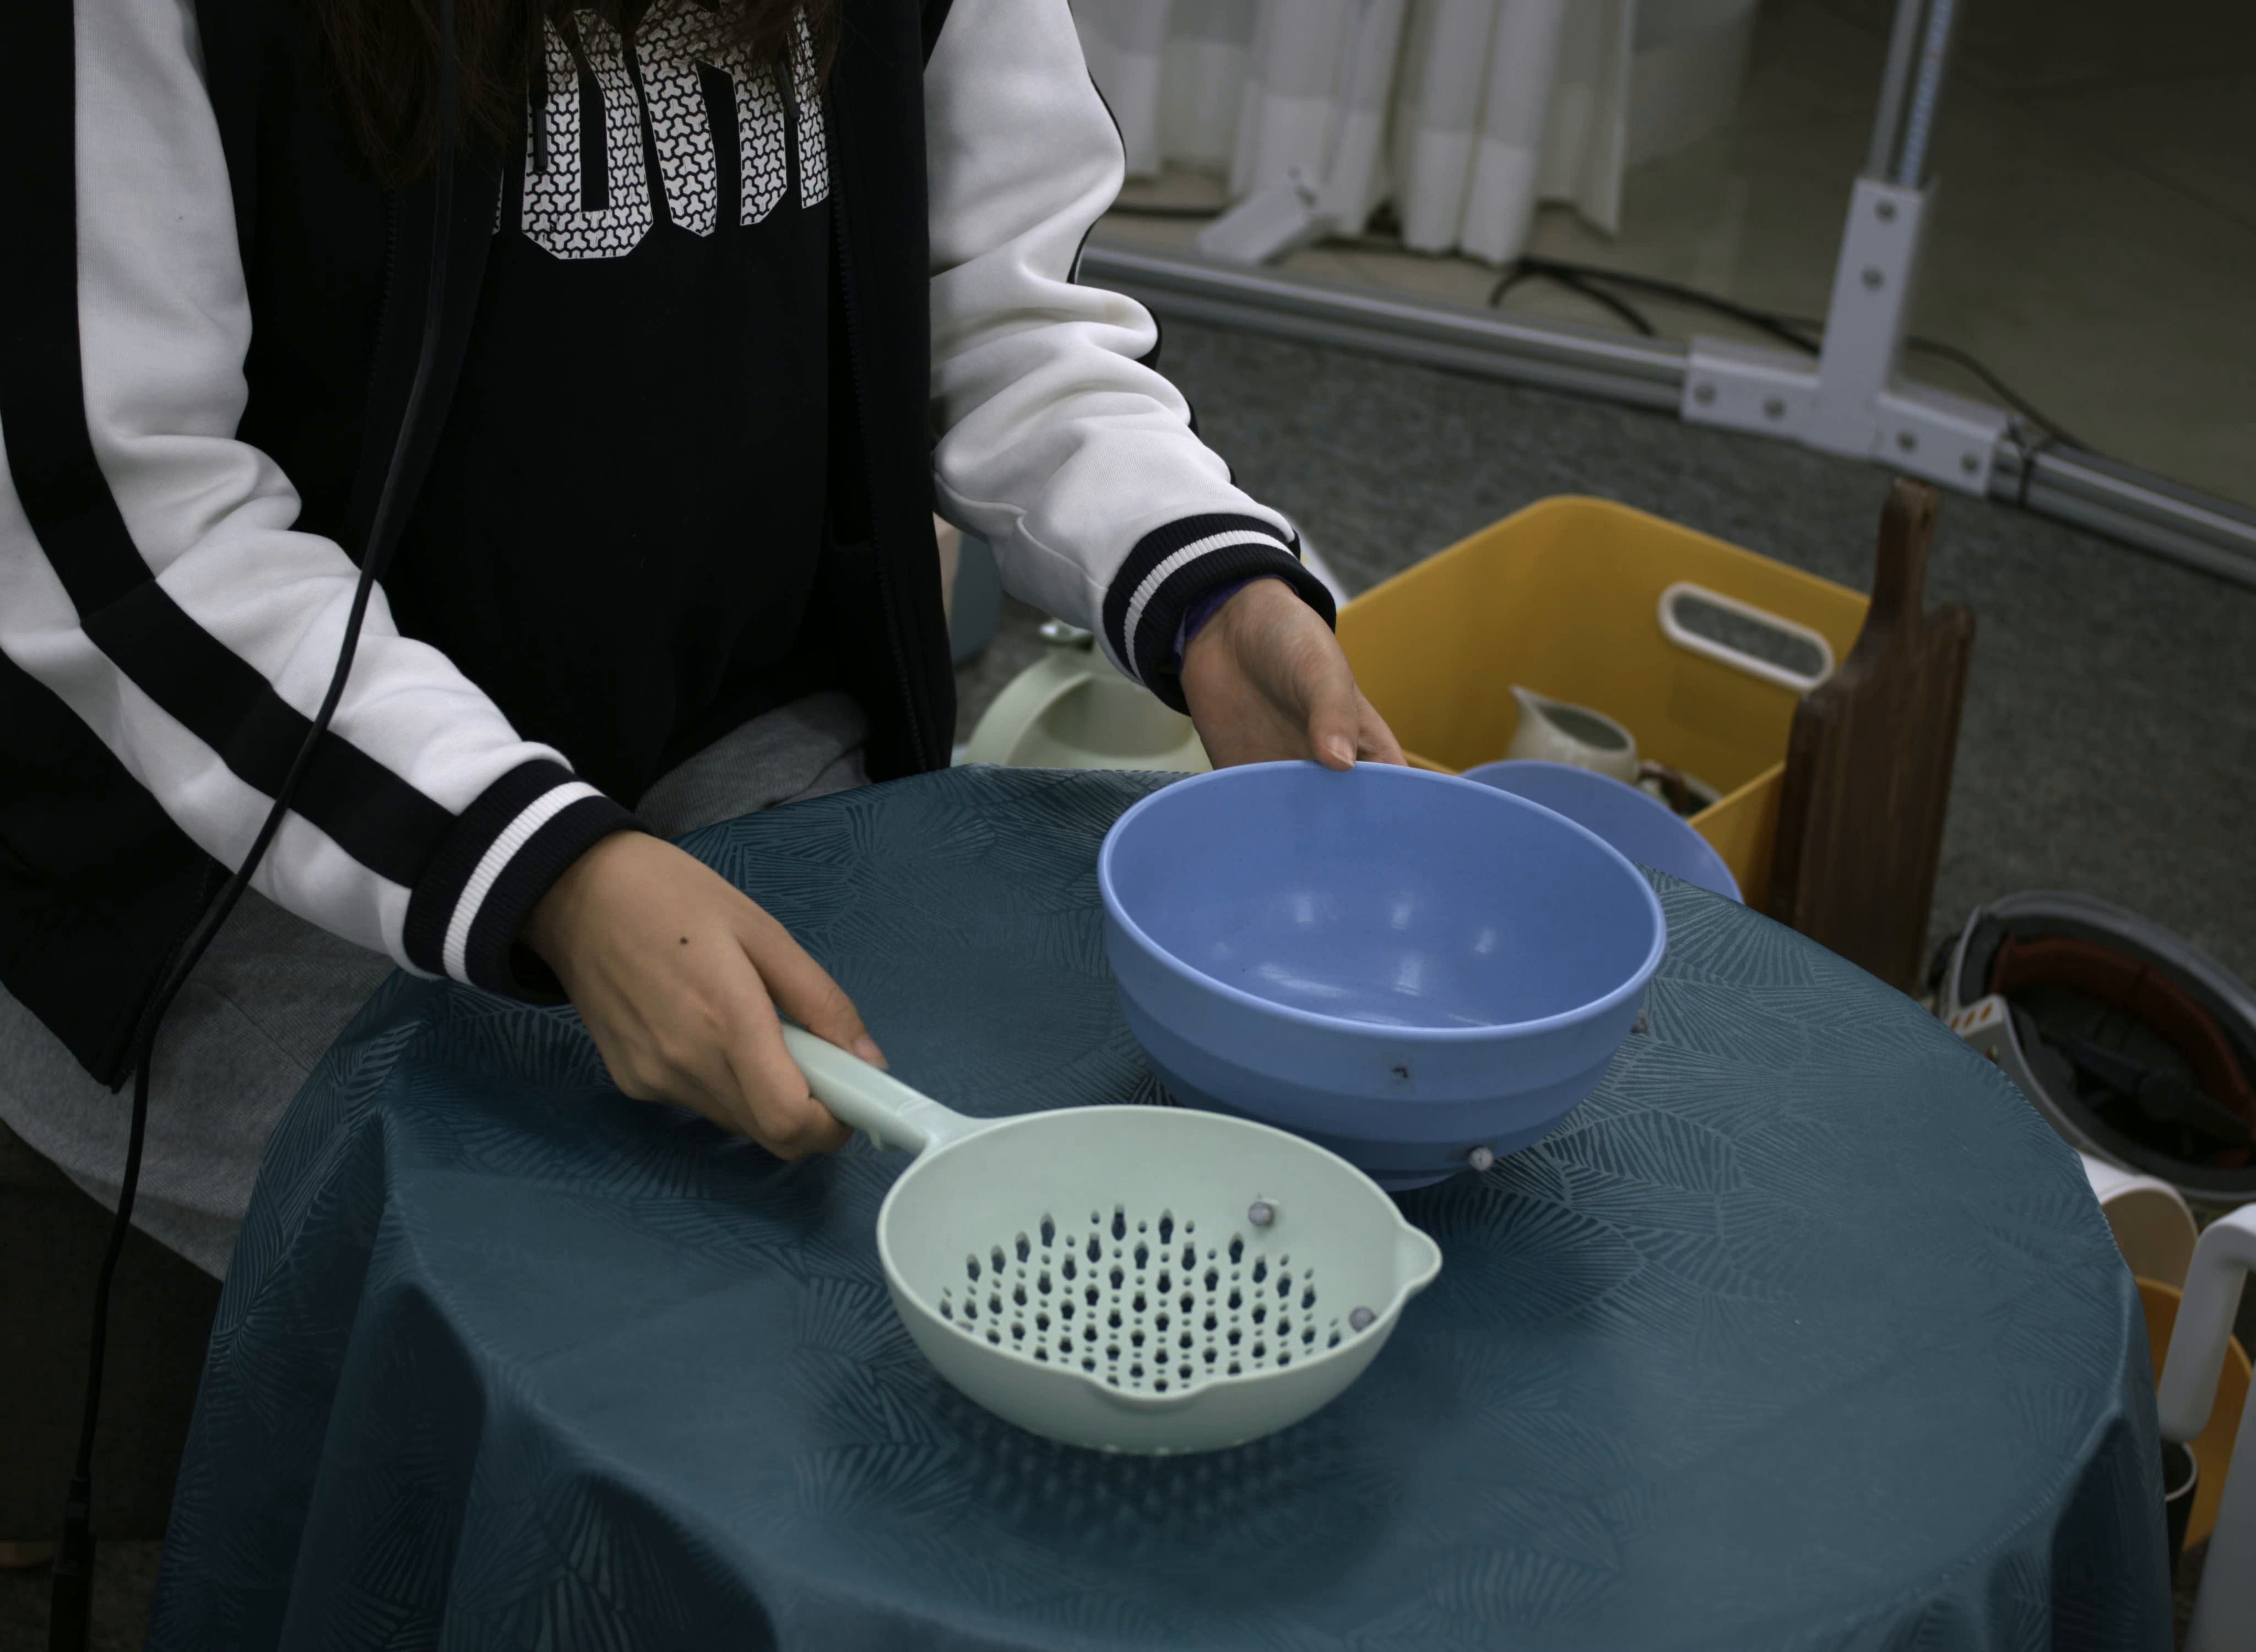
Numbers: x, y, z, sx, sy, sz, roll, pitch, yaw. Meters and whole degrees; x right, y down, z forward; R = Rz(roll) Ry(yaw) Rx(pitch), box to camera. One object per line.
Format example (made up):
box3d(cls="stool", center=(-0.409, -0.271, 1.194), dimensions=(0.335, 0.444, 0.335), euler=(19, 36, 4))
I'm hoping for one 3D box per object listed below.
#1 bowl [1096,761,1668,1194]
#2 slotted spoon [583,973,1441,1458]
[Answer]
box3d(cls="bowl", center=(0.082, 0.063, 1.835), dimensions=(0.196, 0.095, 0.198), euler=(5, 27, -3))
box3d(cls="slotted spoon", center=(-0.063, 0.110, 1.737), dimensions=(0.168, 0.075, 0.362), euler=(-20, 40, -39))
